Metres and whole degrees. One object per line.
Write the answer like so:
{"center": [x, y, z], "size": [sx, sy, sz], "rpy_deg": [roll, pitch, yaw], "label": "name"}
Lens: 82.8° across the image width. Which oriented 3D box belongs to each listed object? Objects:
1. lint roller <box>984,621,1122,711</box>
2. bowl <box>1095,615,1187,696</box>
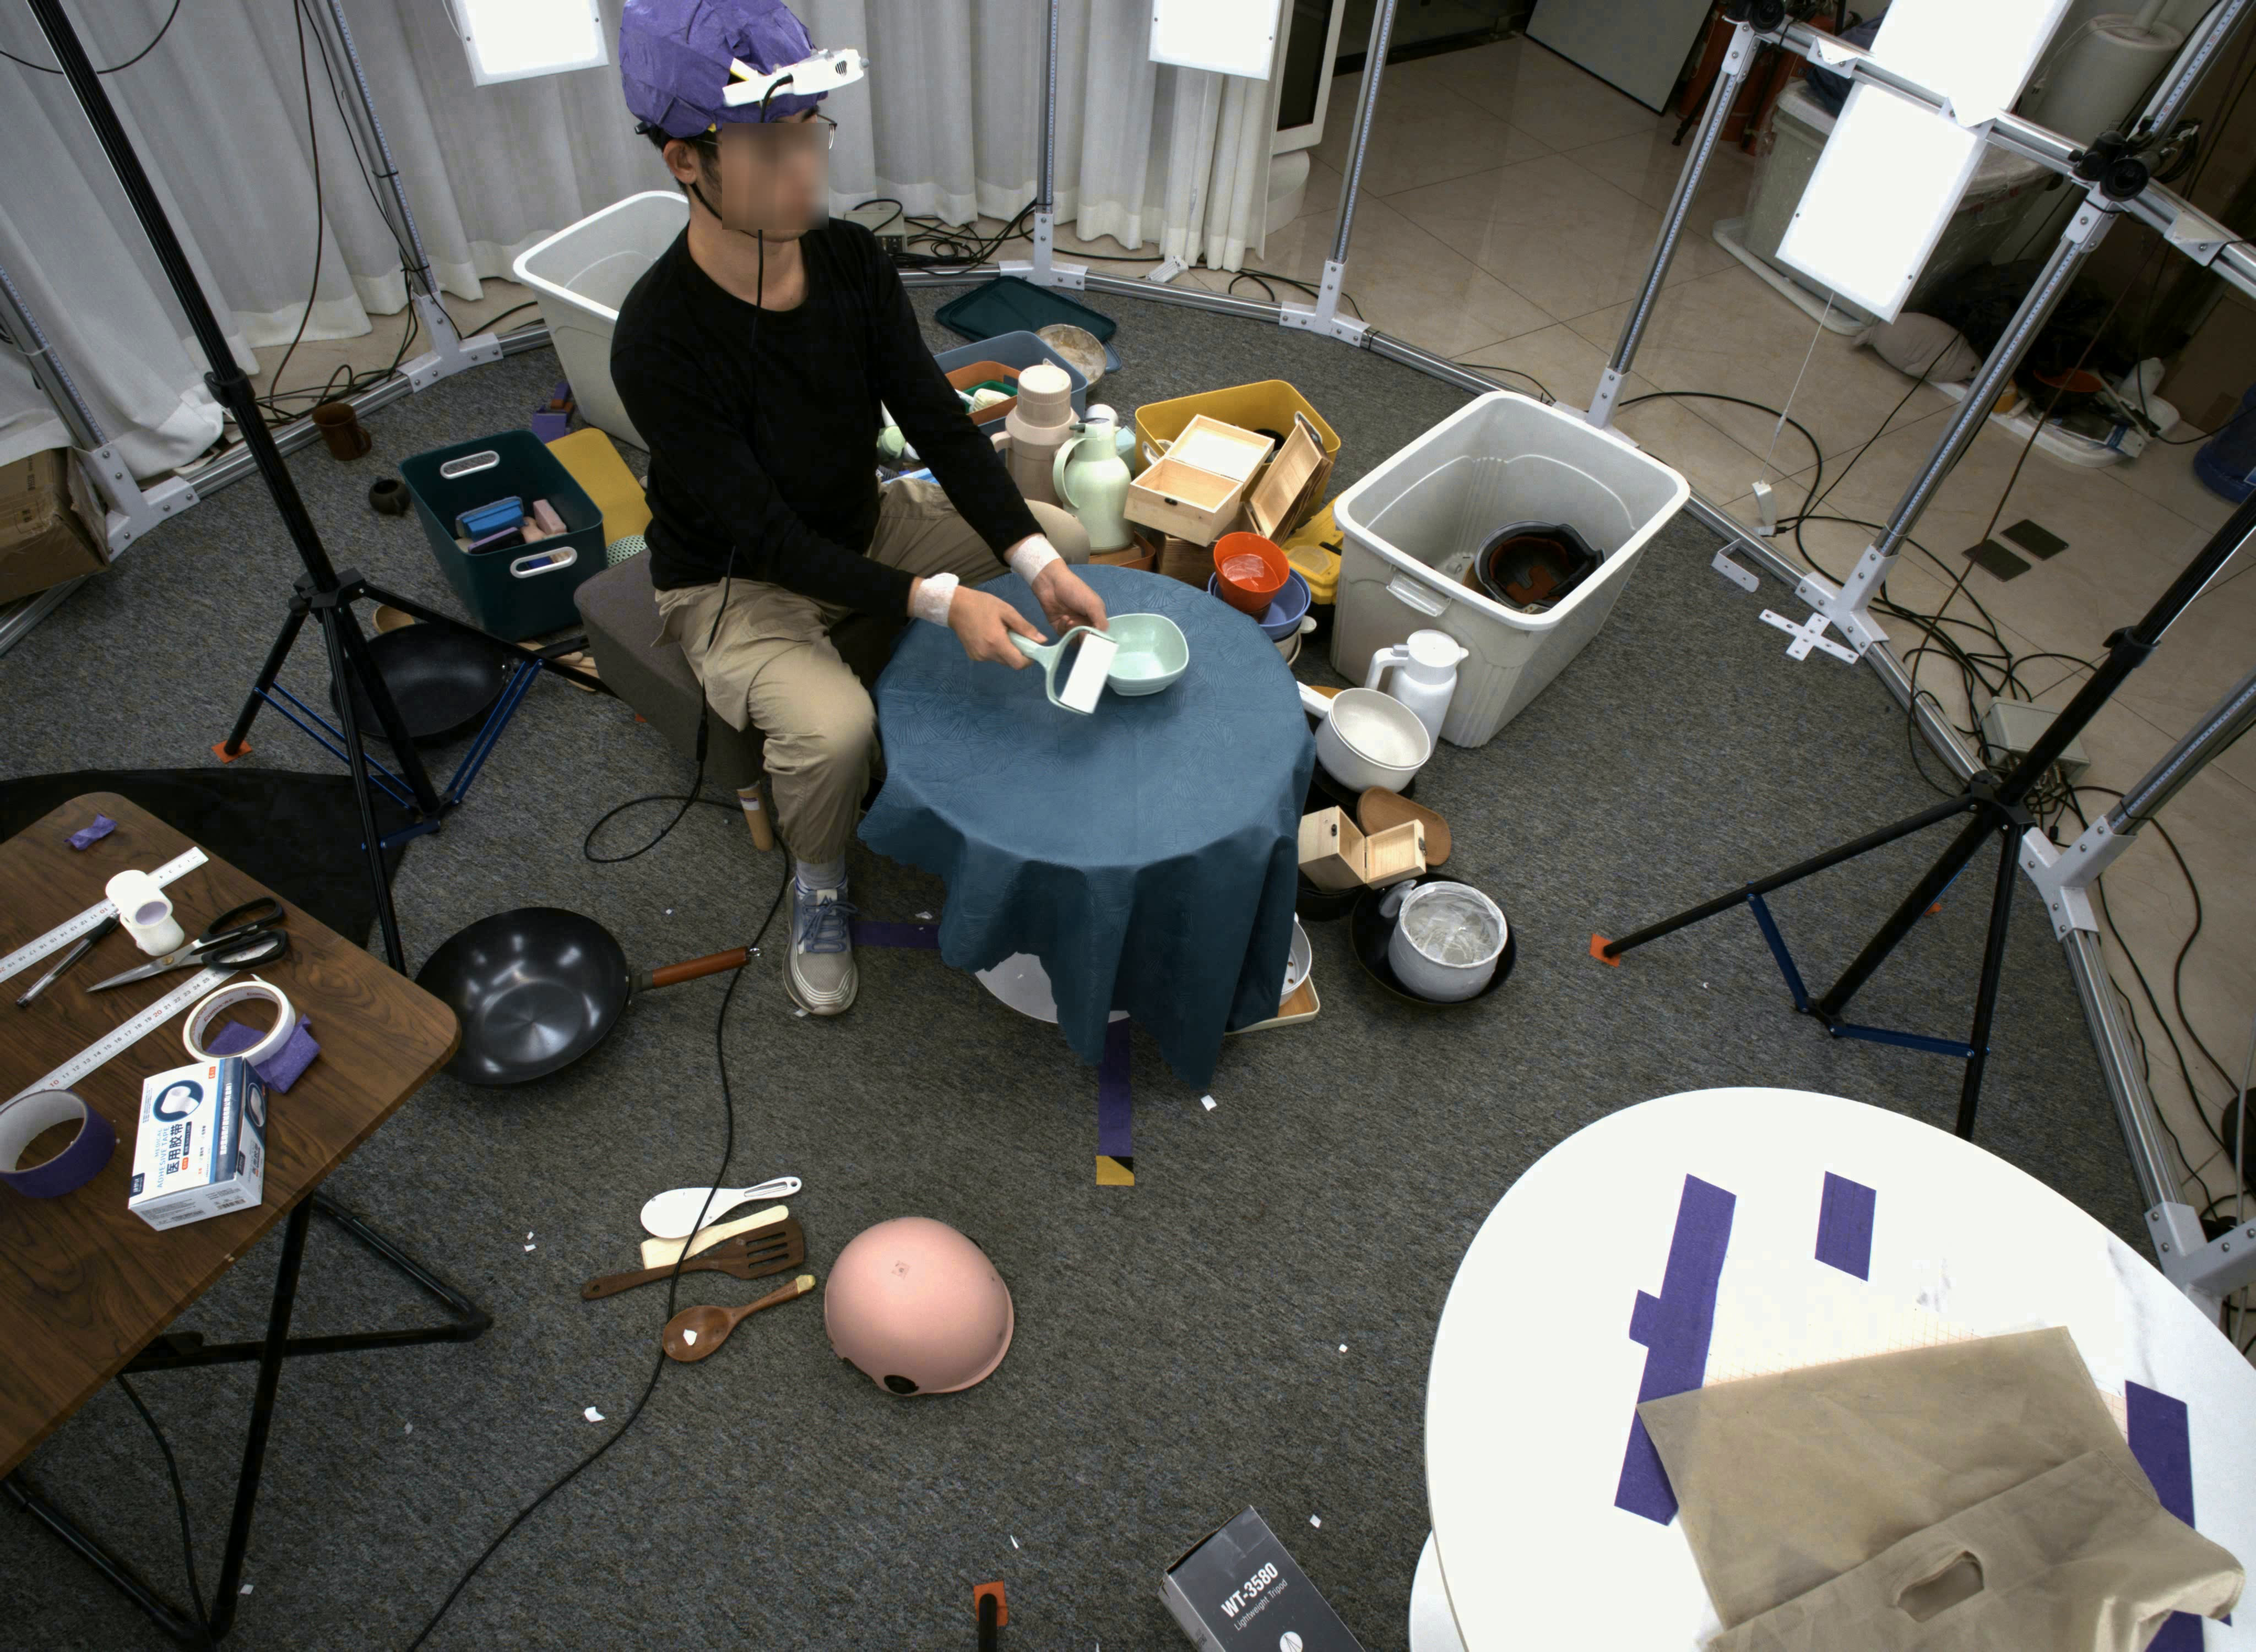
{"center": [-0.113, -0.242, 1.754], "size": [0.199, 0.116, 0.048], "rpy_deg": [23, 7, 14], "label": "lint roller"}
{"center": [0.012, -0.236, 1.838], "size": [0.151, 0.057, 0.155], "rpy_deg": [3, 48, -3], "label": "bowl"}
